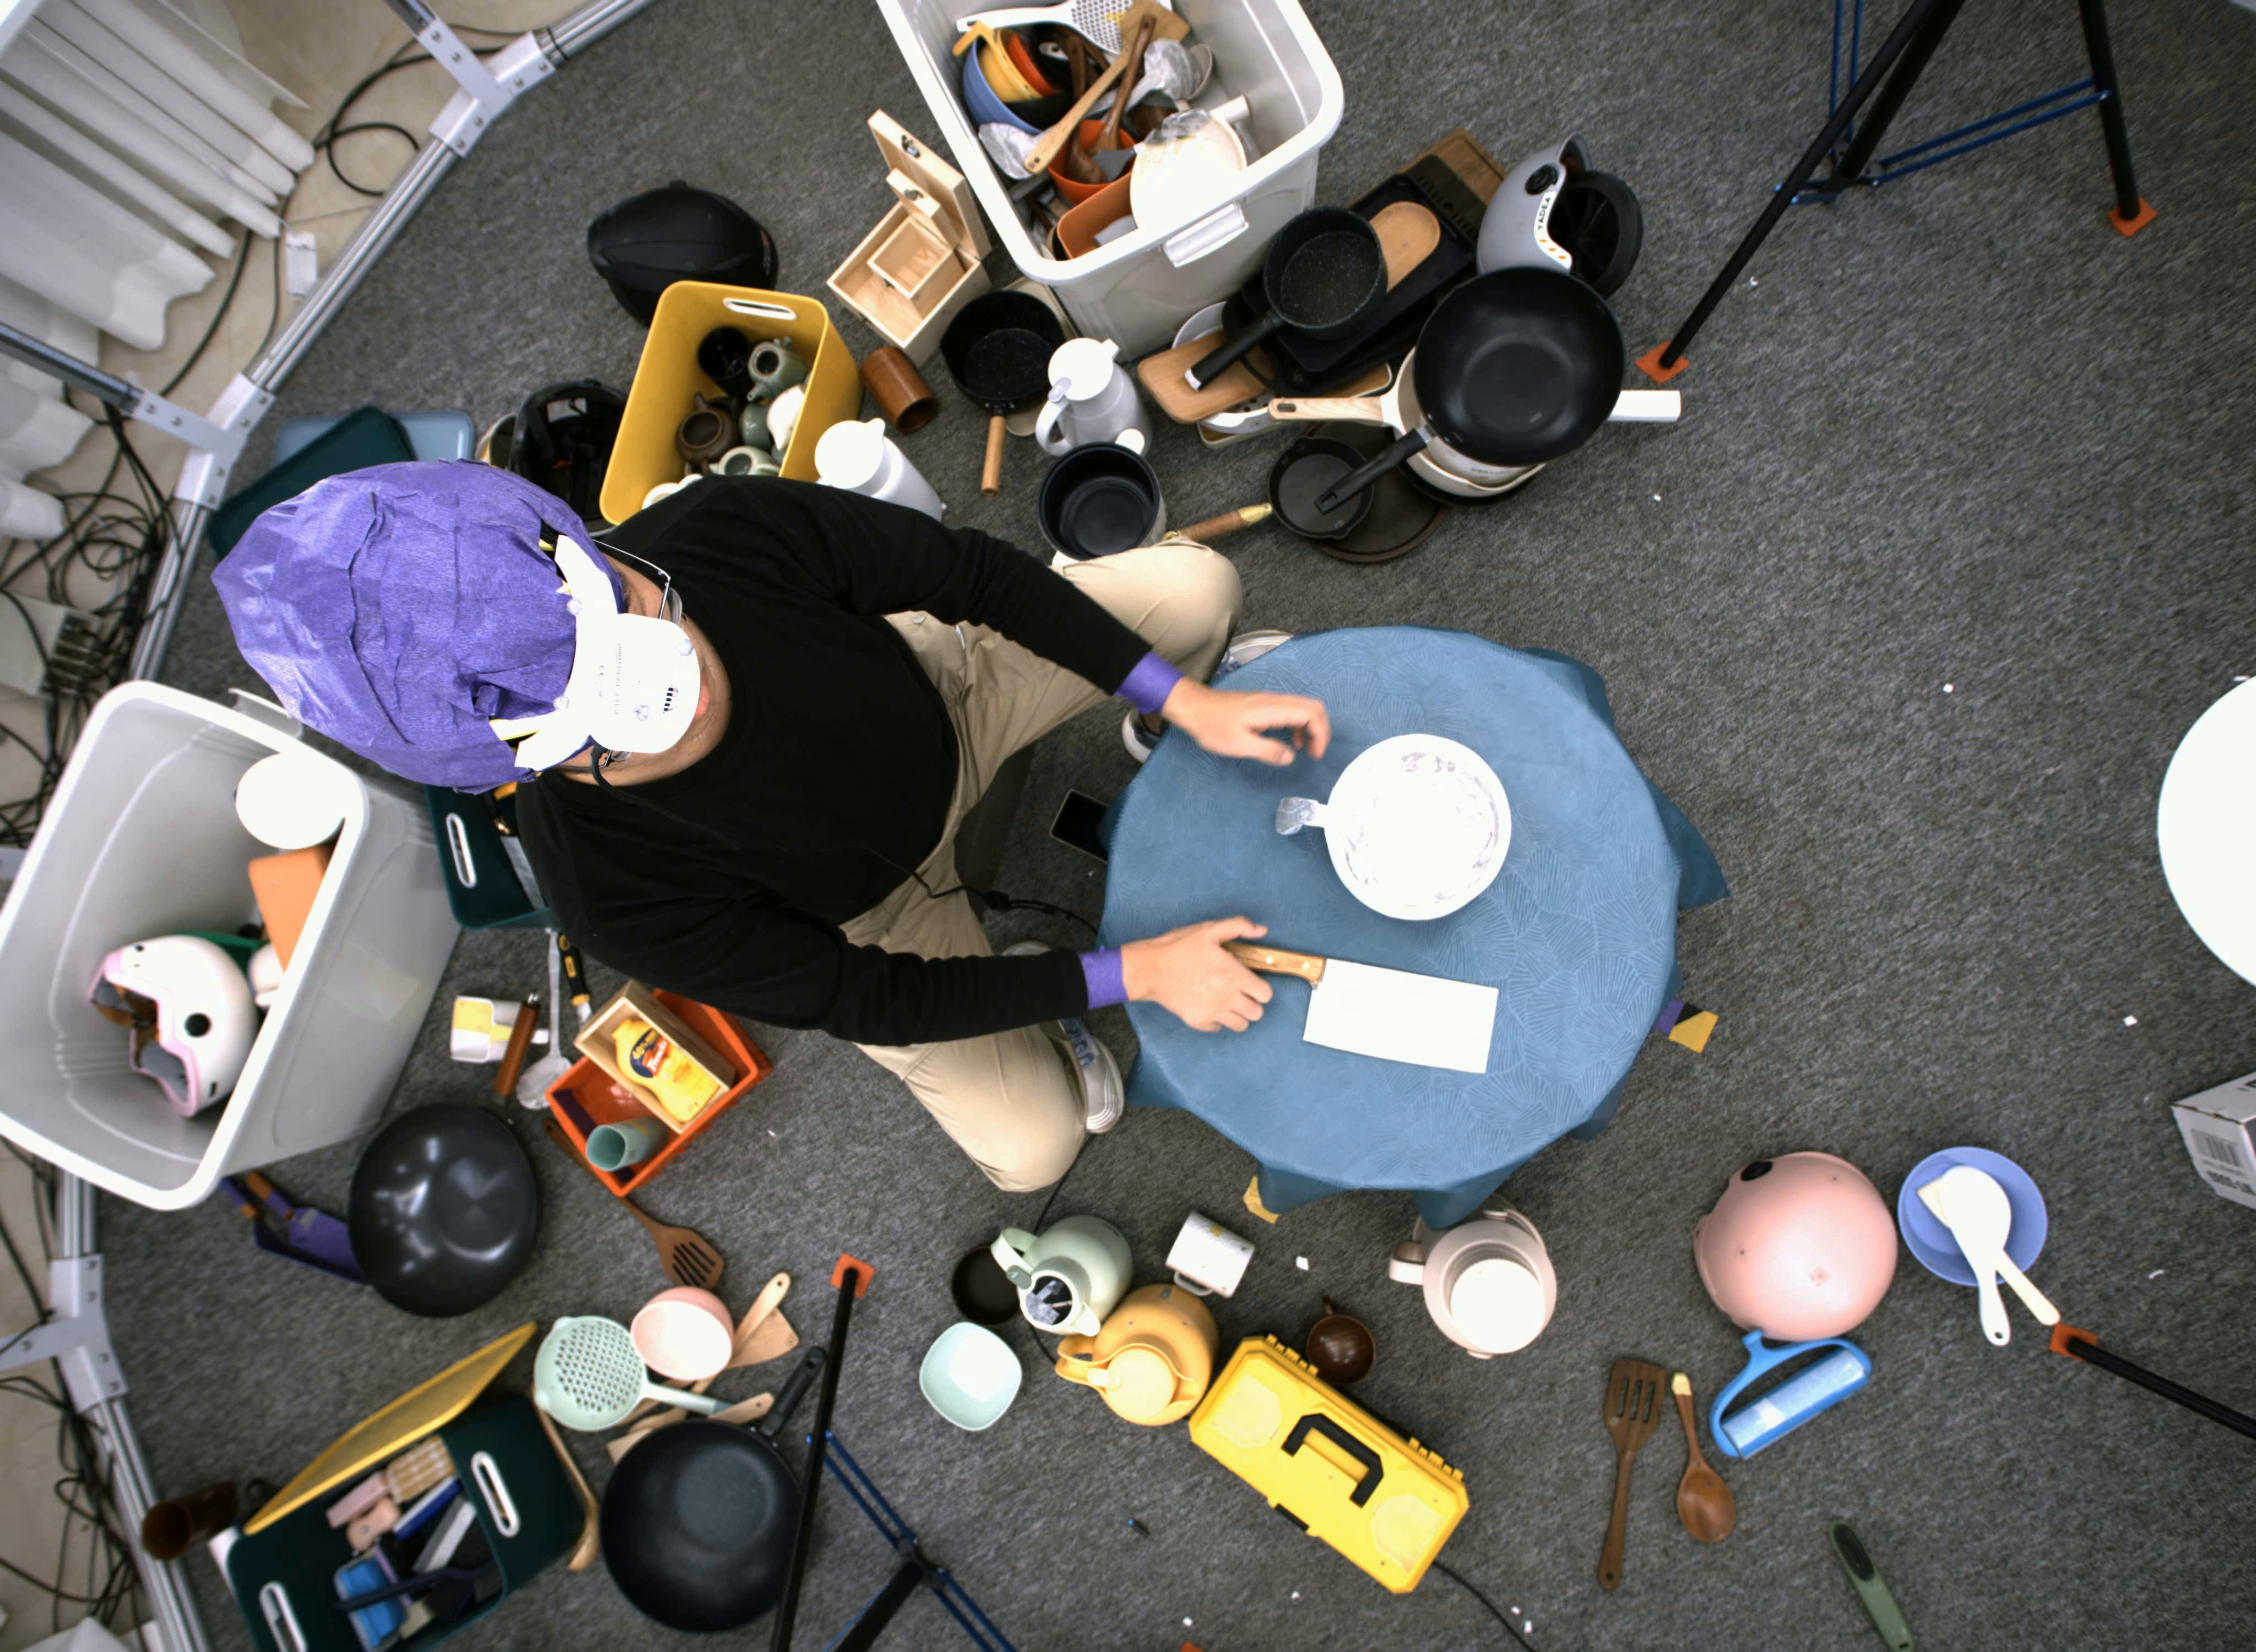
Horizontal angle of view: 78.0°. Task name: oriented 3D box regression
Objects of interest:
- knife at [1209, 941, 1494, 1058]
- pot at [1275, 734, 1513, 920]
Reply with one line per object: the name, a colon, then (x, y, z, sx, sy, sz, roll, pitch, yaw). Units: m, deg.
knife: (0.230, 0.184, 1.457, 0.306, 0.021, 0.093, 10, 89, 9)
pot: (0.263, 0.001, 1.395, 0.234, 0.137, 0.178, 7, 87, 10)
